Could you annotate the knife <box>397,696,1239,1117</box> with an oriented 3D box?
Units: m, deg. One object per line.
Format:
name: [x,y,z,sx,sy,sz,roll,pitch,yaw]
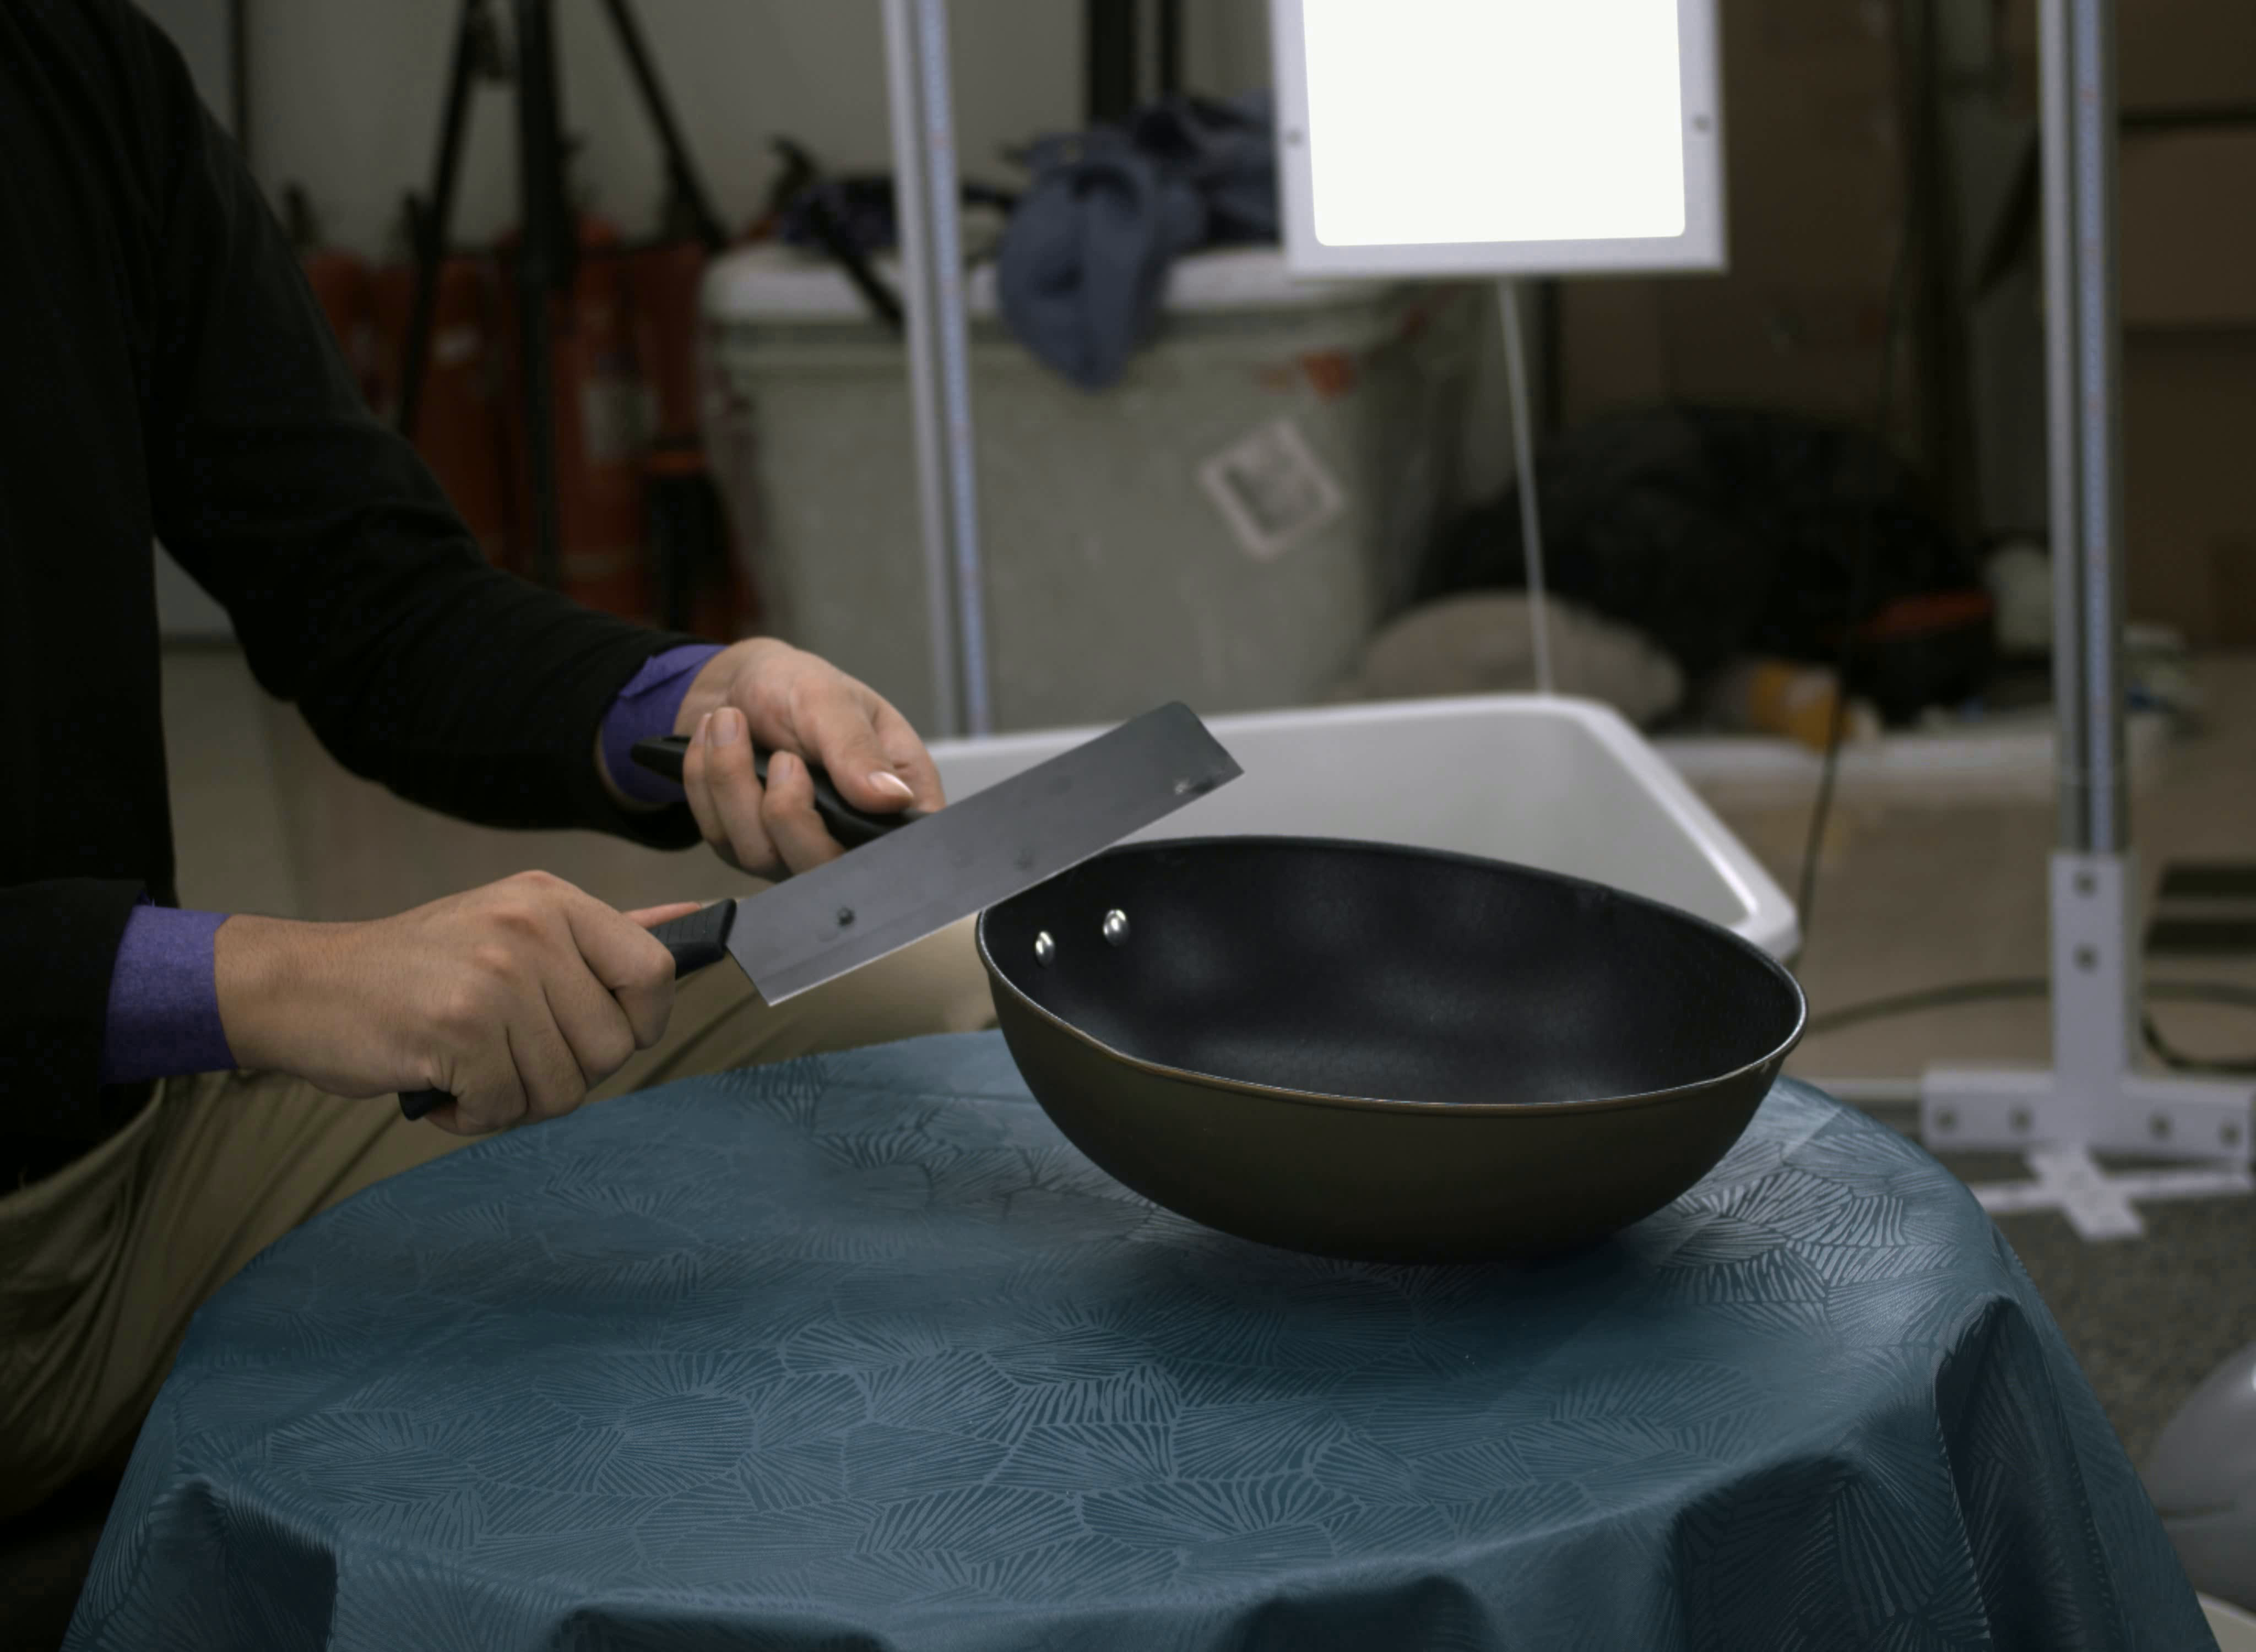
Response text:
knife: [-0.105,0.029,1.850,0.301,0.021,0.081,-23,32,-4]

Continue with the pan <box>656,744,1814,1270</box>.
pan: [0.012,0.061,1.884,0.472,0.087,0.281,16,20,35]
